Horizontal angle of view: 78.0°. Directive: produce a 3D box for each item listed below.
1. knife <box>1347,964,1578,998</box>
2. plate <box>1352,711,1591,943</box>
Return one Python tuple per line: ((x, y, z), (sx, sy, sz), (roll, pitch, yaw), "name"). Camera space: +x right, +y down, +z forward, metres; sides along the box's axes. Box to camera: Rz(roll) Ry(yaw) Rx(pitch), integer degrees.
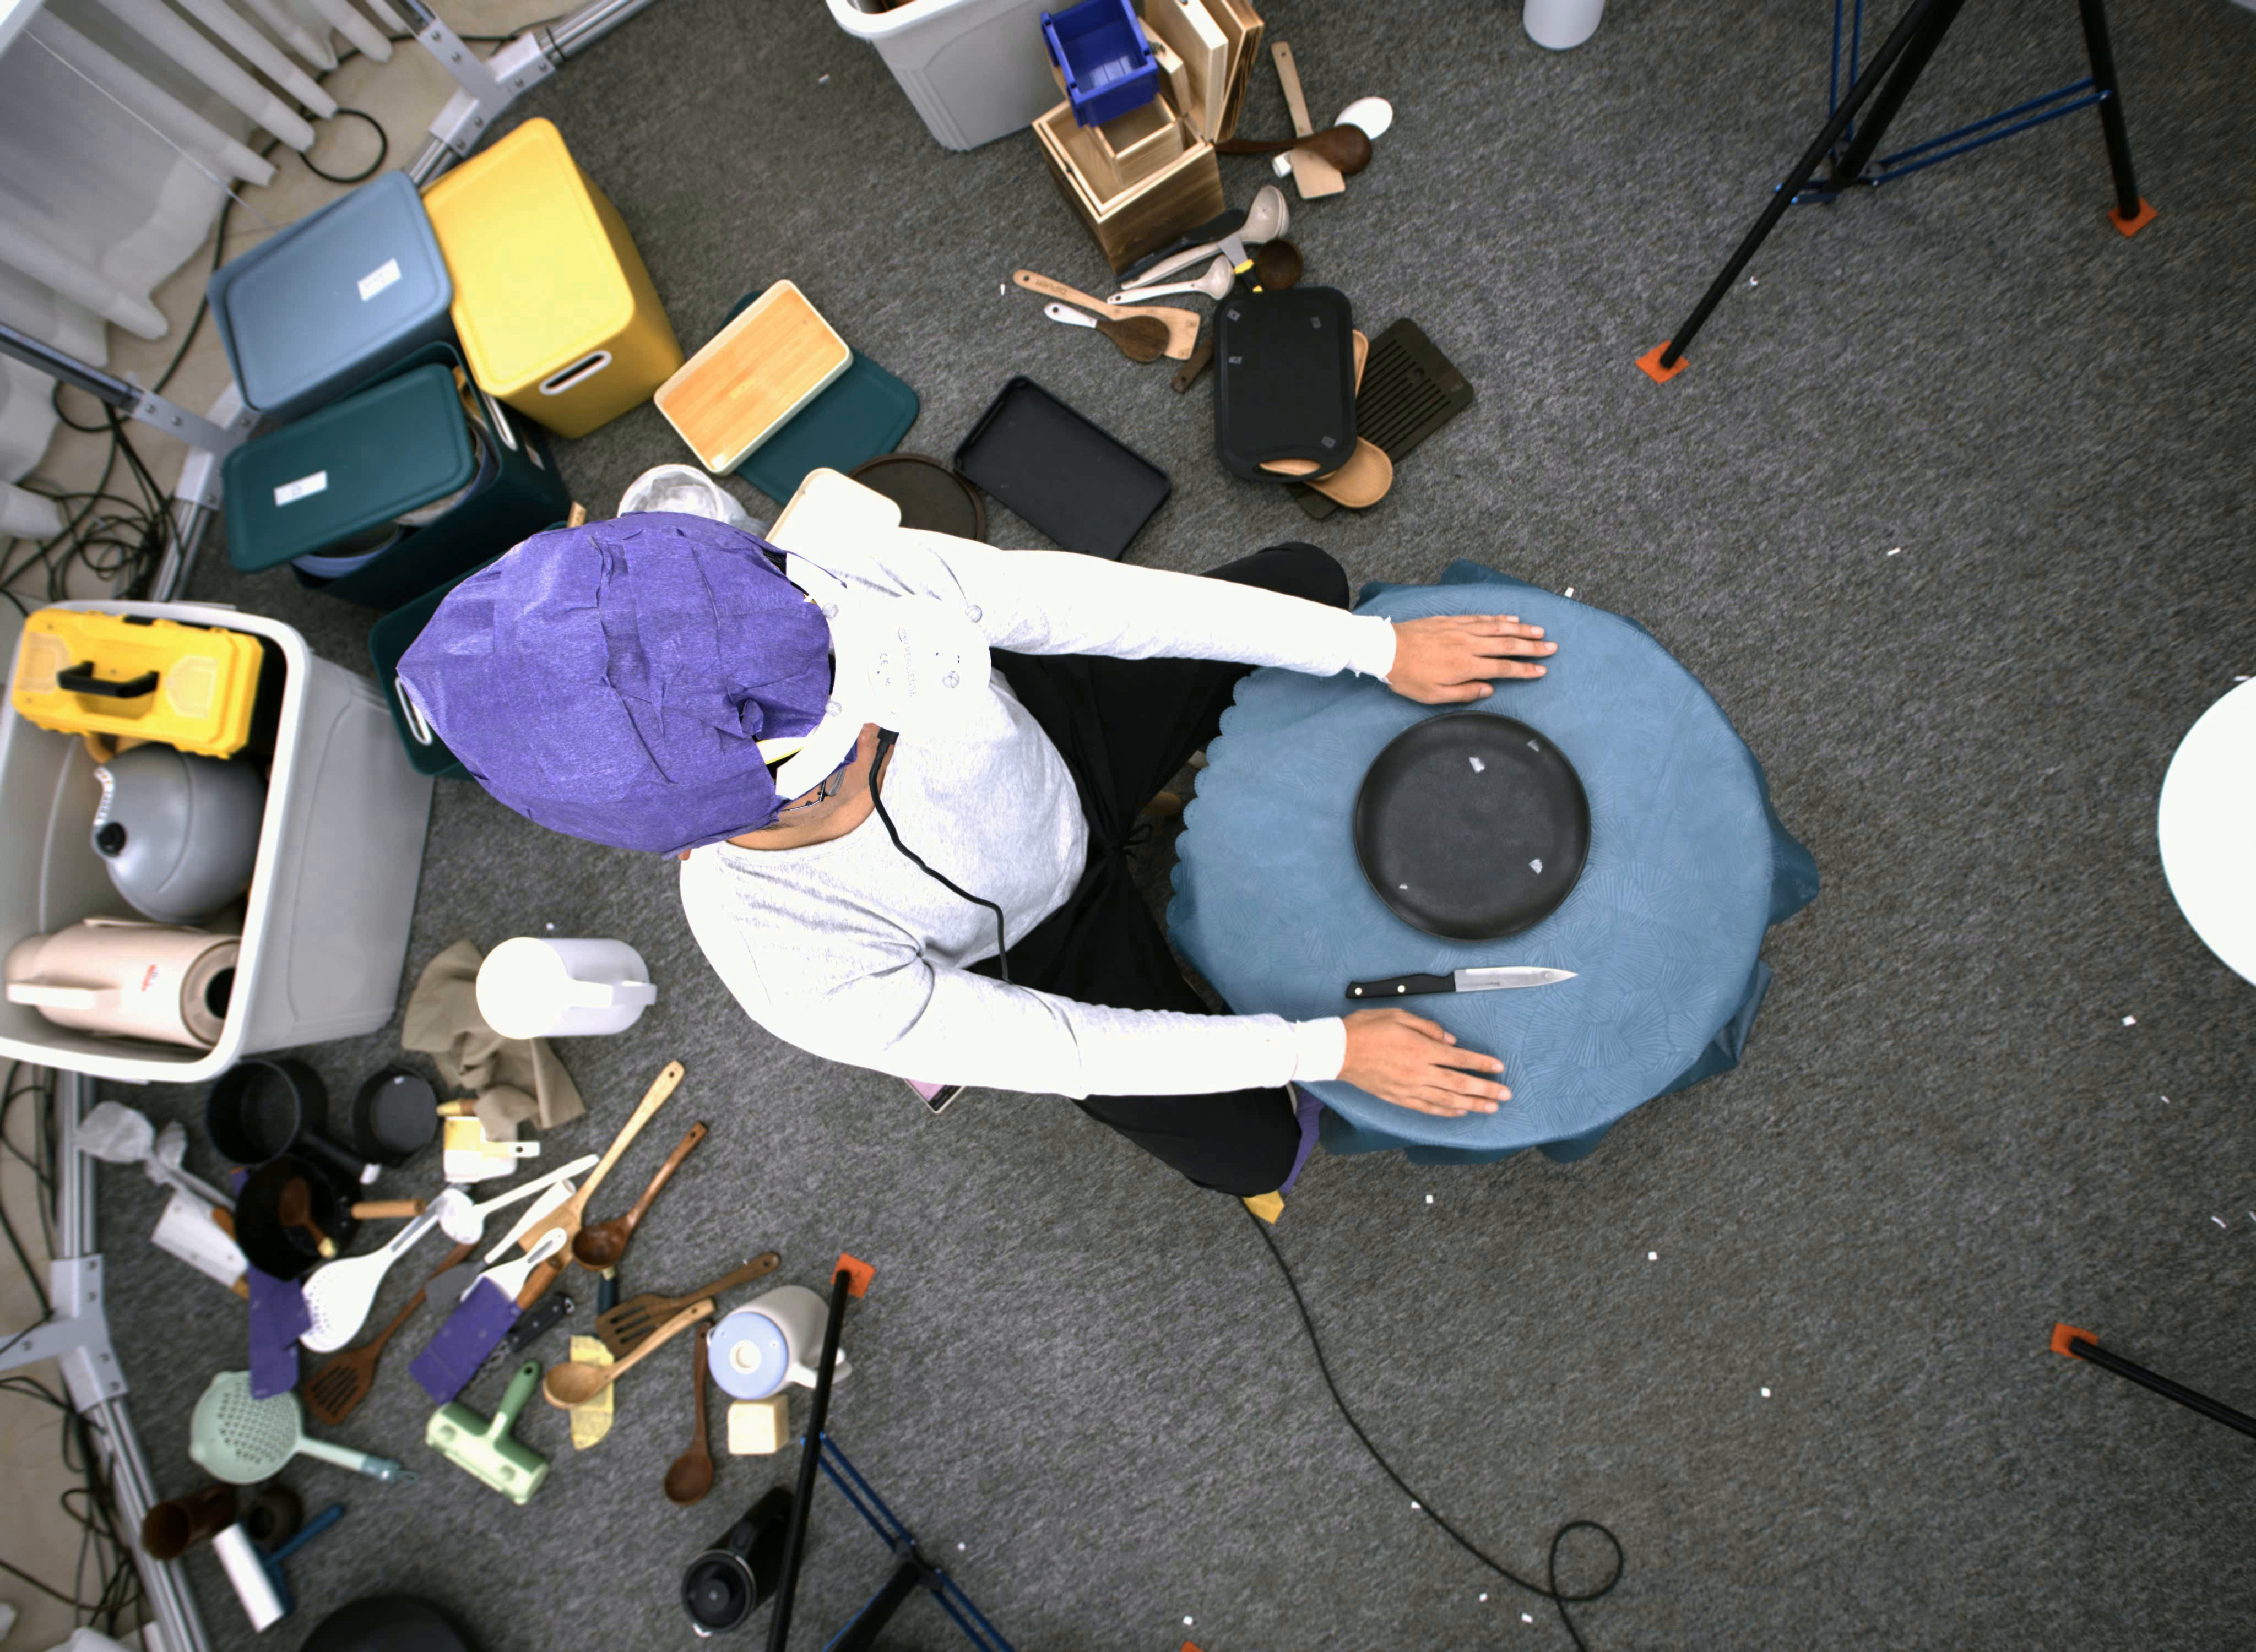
((0.348, 0.160, 1.435), (0.239, 0.016, 0.024), (-6, 88, 8), "knife")
((0.357, -0.001, 1.436), (0.245, 0.023, 0.243), (-1, 87, 11), "plate")
